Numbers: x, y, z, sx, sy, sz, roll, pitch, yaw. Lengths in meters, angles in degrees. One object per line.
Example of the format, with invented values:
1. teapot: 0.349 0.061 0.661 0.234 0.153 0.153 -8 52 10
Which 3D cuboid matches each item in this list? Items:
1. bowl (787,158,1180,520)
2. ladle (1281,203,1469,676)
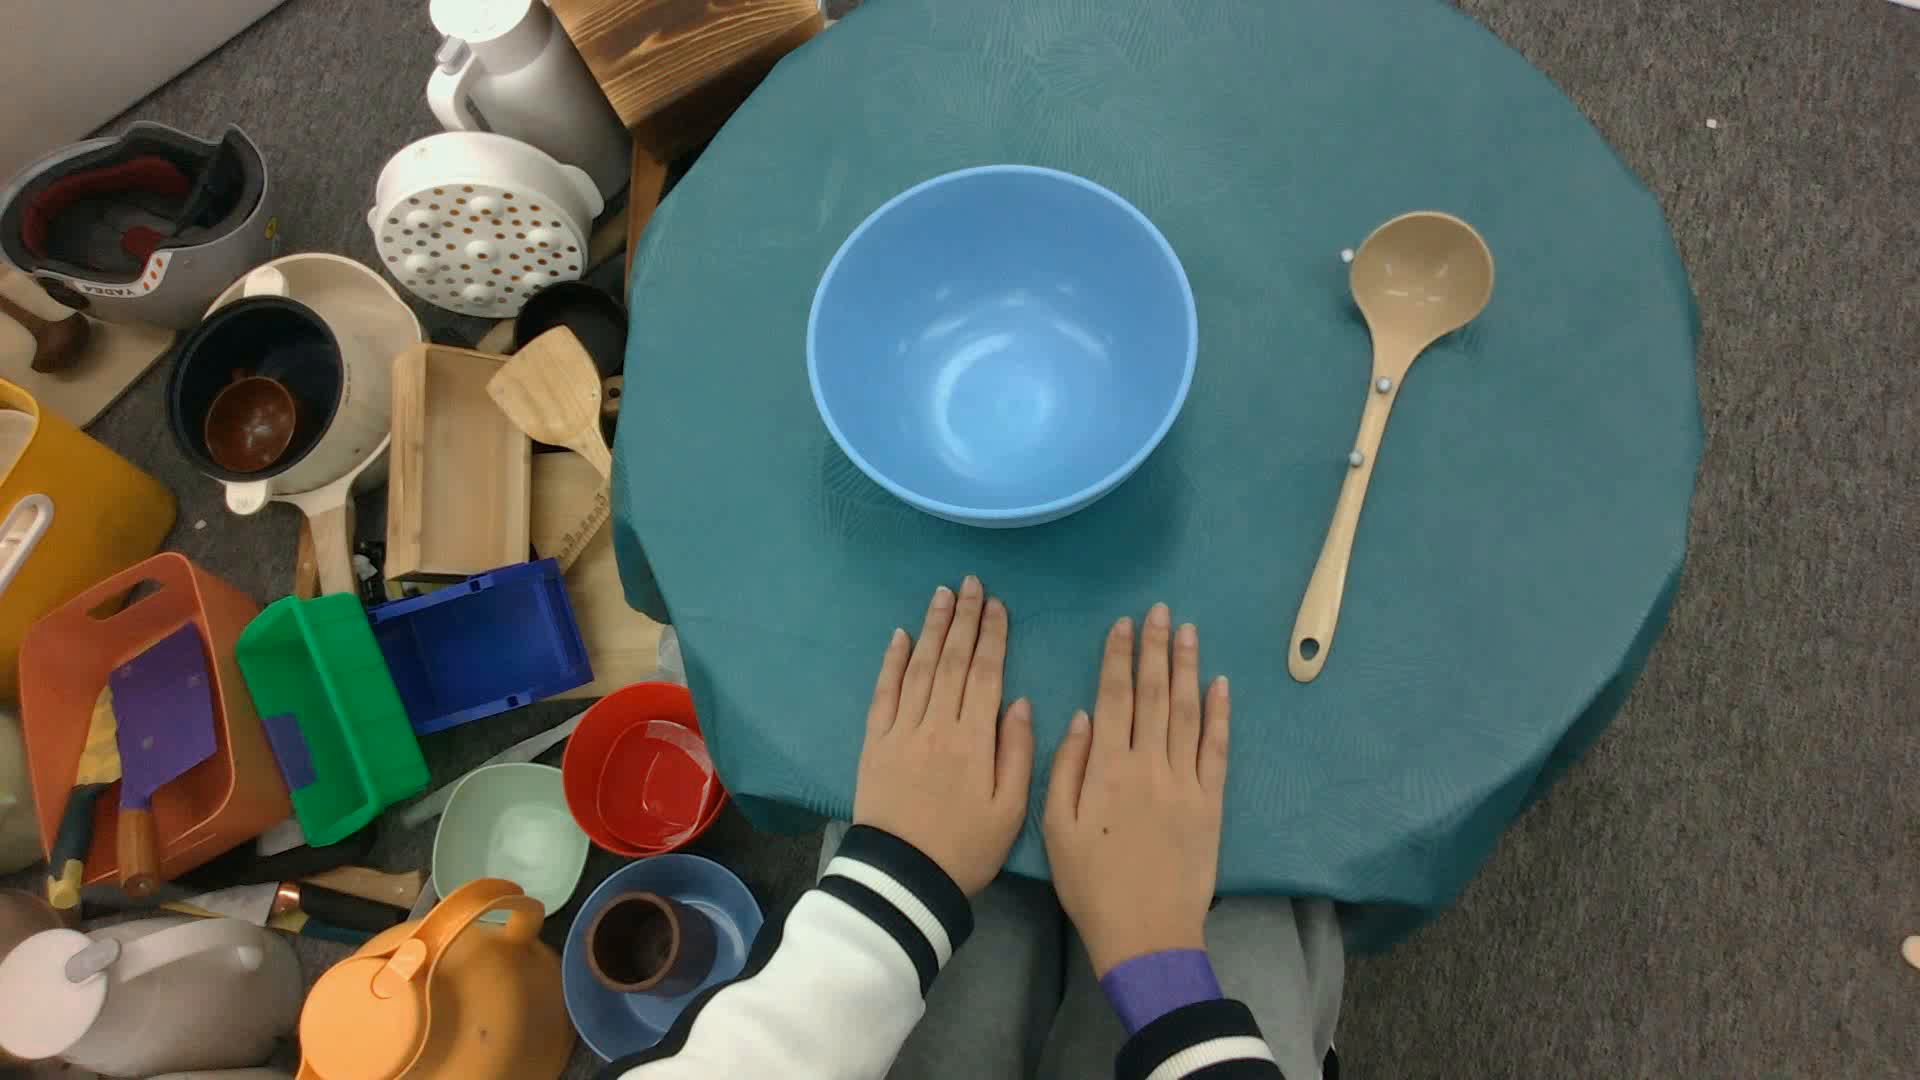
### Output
1. bowl: 0.013 -0.093 0.731 0.196 0.095 0.197 -1 71 2
2. ladle: 0.207 -0.057 0.714 0.072 0.072 0.255 15 73 10
